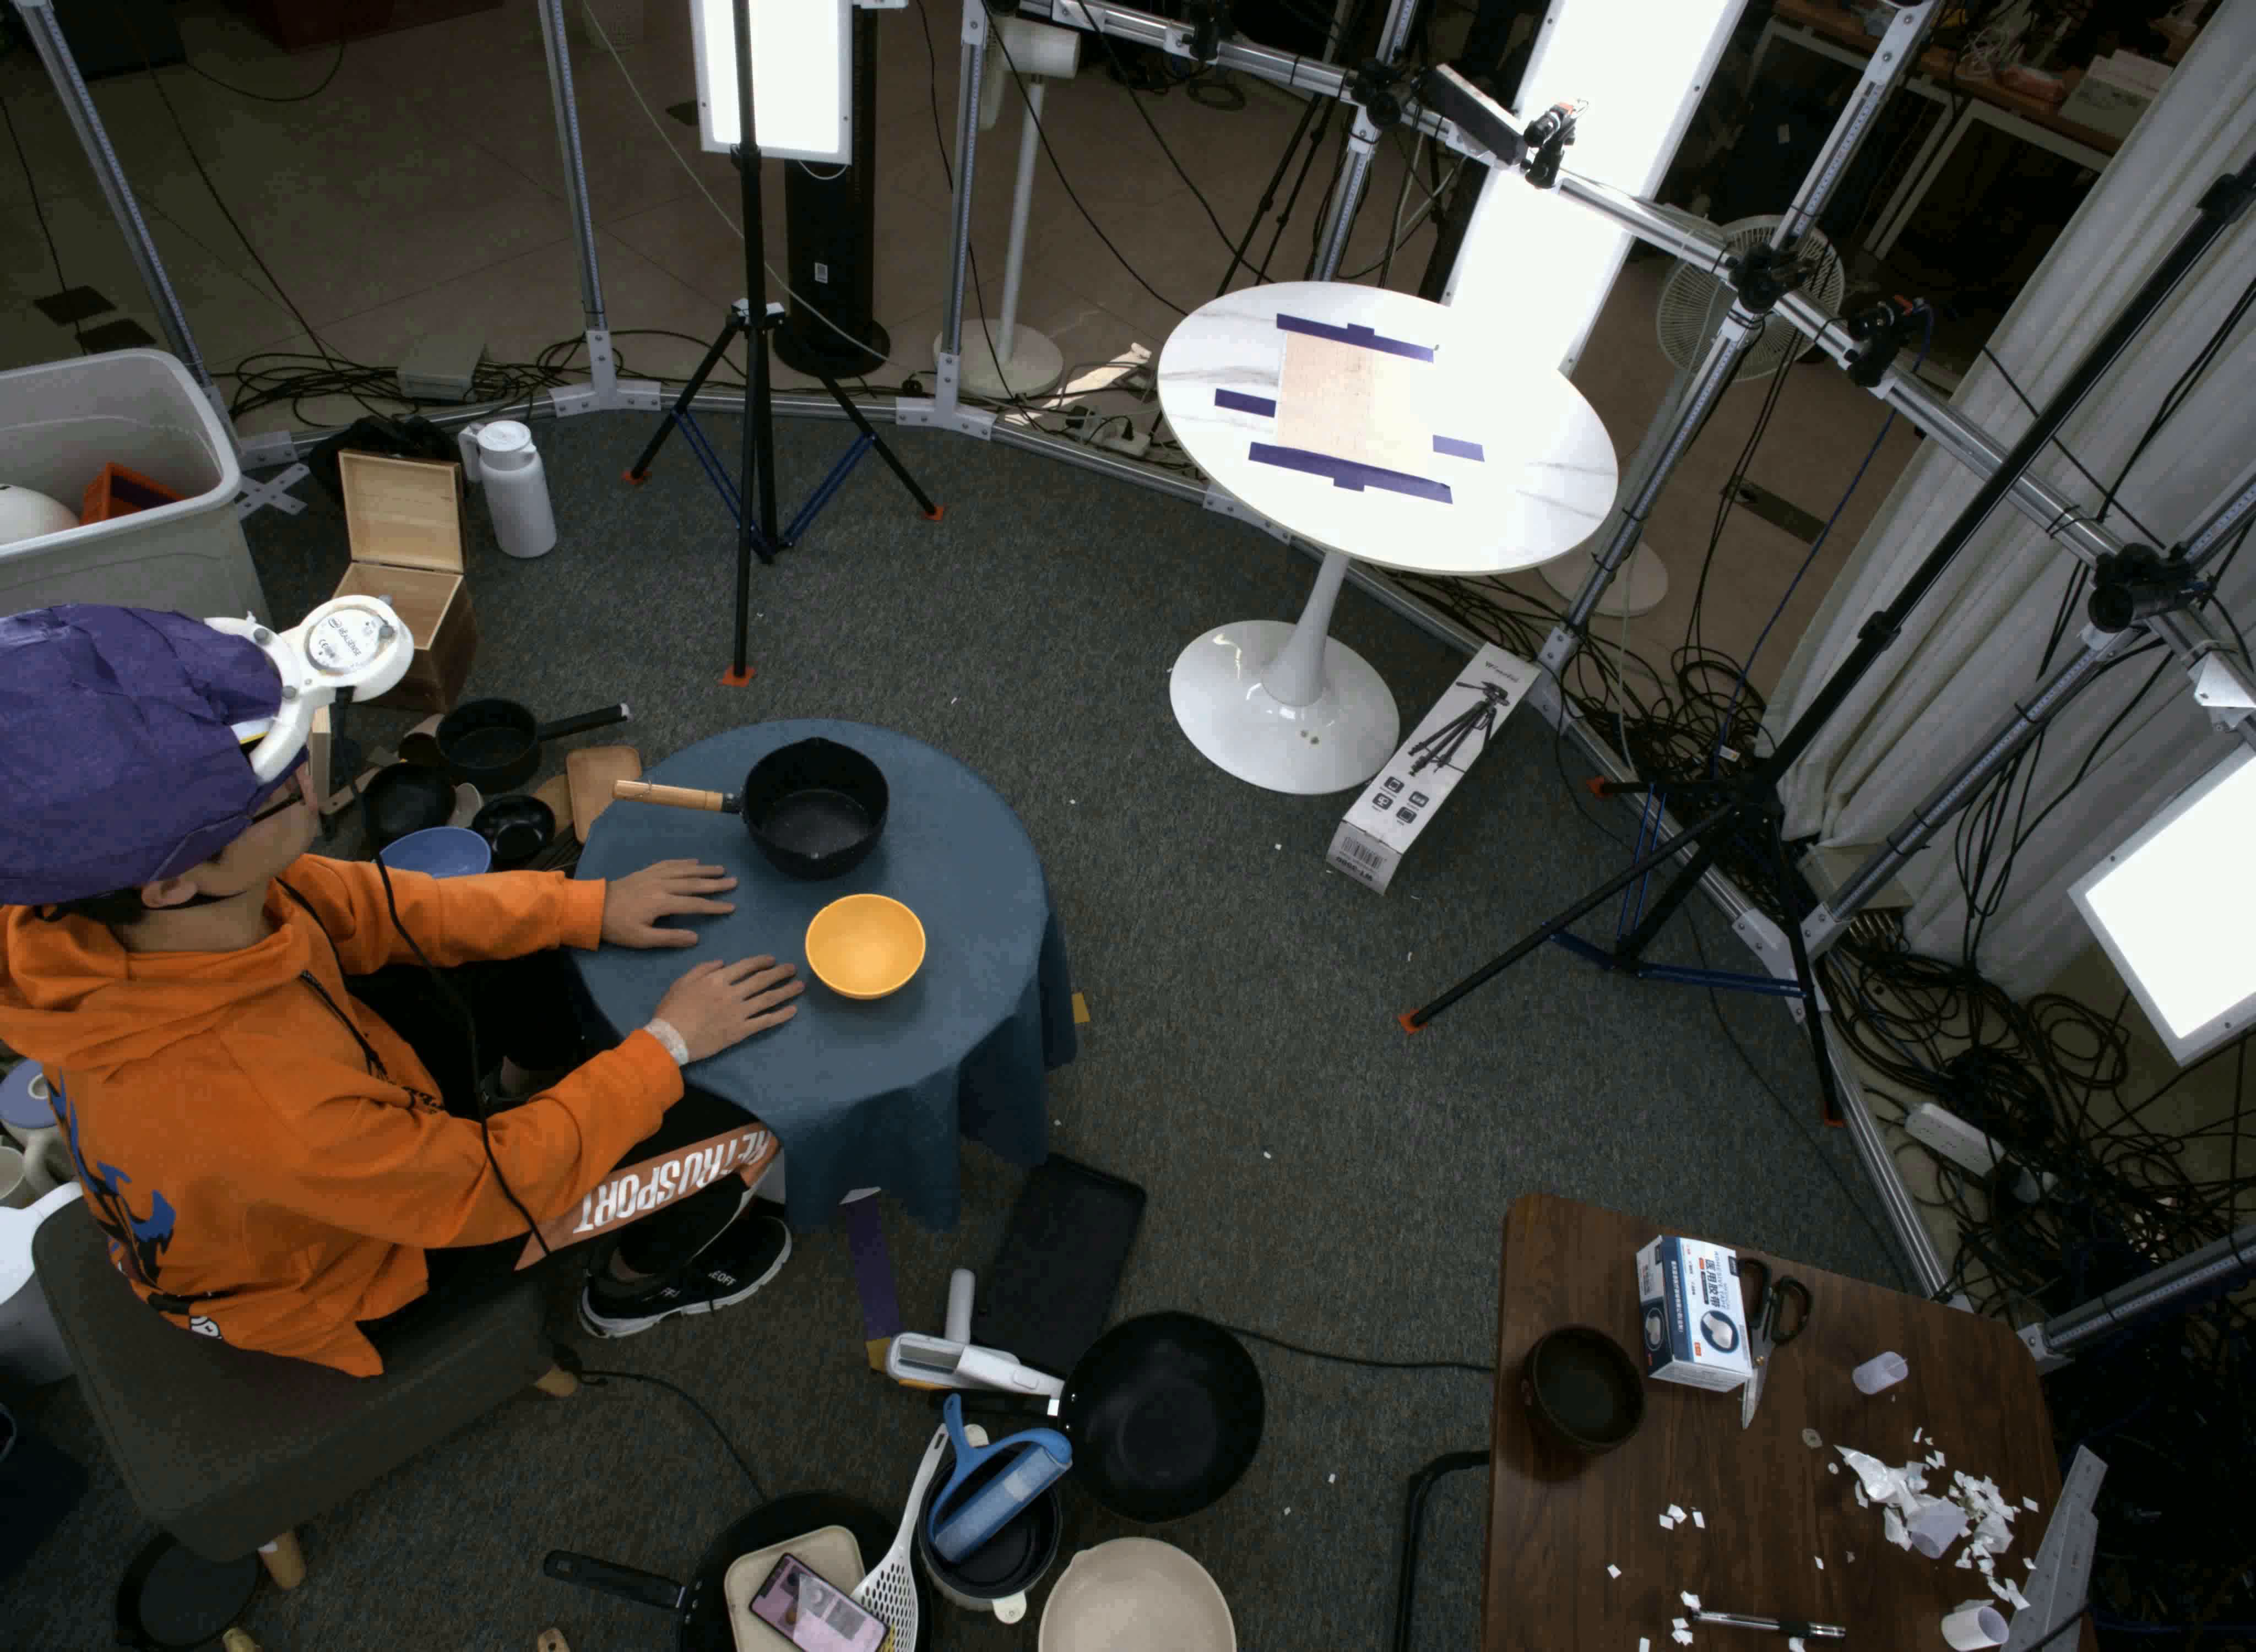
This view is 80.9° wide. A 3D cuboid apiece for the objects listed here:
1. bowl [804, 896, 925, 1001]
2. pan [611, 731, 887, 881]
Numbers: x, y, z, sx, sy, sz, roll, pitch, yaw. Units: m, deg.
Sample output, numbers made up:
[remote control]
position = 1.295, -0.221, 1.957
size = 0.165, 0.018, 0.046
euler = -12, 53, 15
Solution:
[bowl]
position = -0.321, 0.158, 1.585
size = 0.145, 0.061, 0.142
euler = 8, 51, -8
[pan]
position = -0.480, -0.021, 1.645
size = 0.344, 0.110, 0.203
euler = -1, 55, -17
